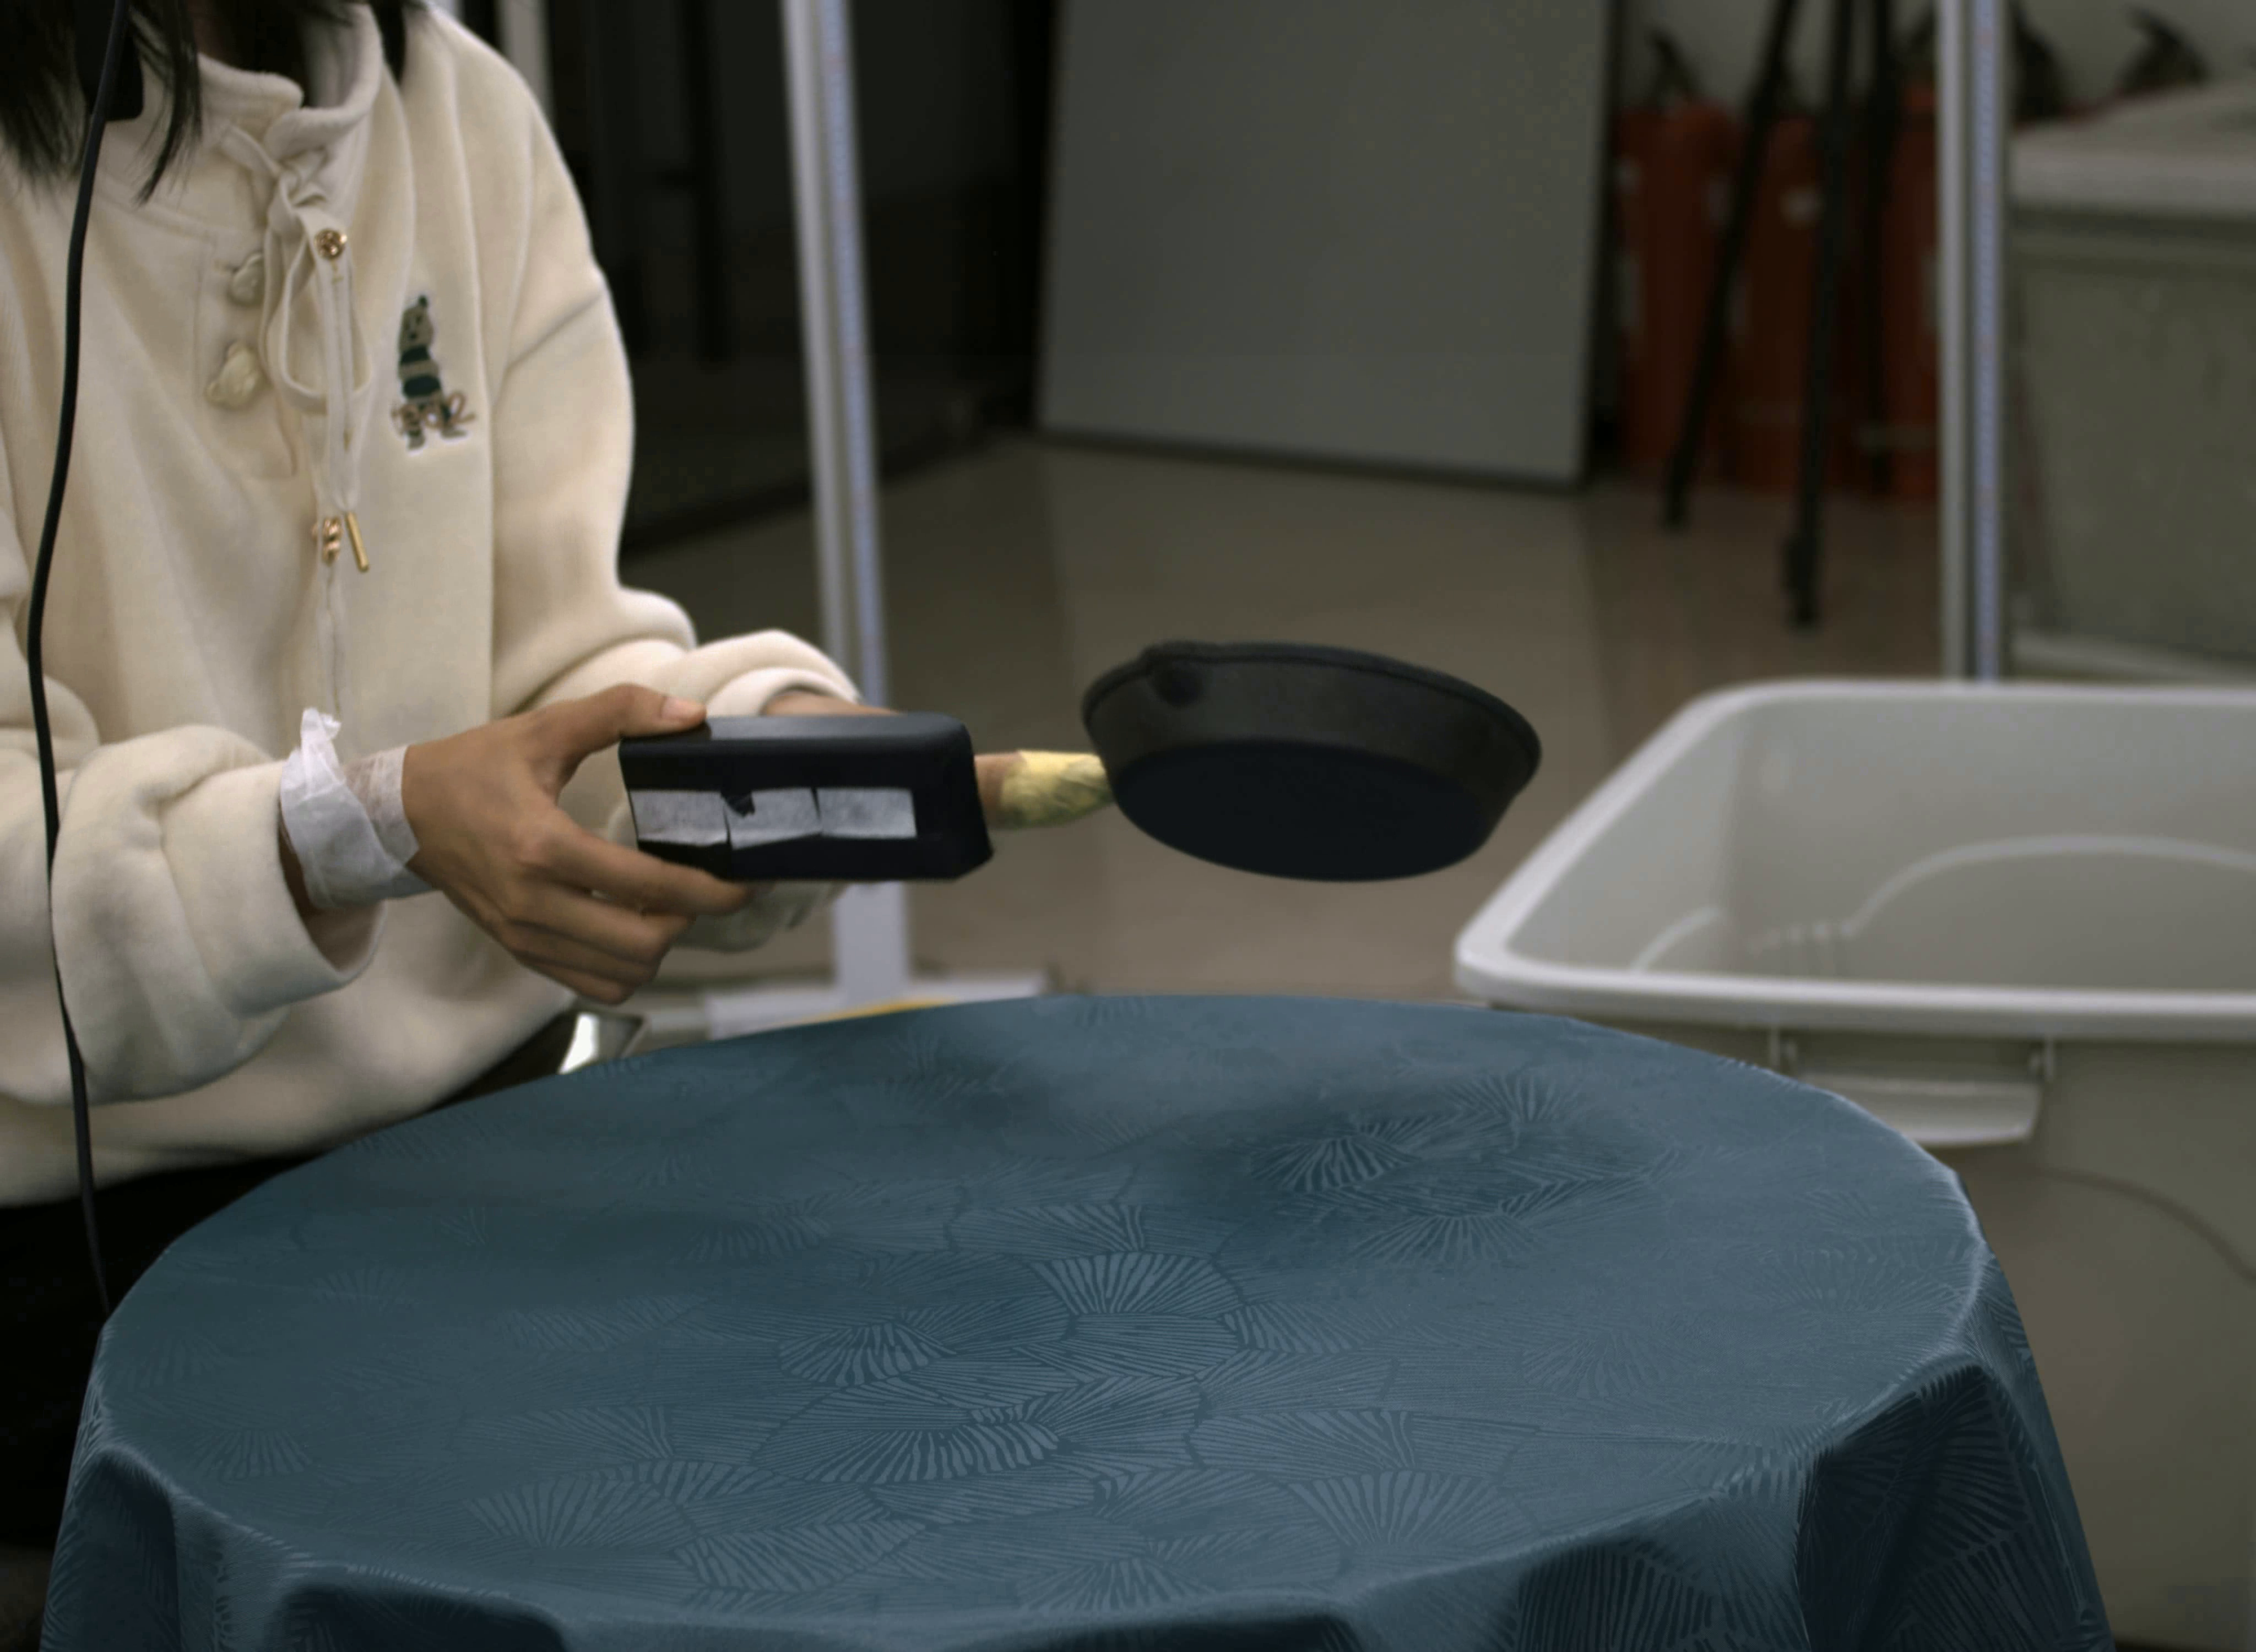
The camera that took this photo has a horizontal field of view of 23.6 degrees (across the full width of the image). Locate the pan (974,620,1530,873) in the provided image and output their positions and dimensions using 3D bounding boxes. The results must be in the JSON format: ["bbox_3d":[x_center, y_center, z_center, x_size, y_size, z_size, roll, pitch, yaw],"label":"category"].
[{"bbox_3d":[-0.007,-0.016,1.870,0.326,0.050,0.166,-11,-28,40],"label":"pan"}]

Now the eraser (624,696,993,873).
[{"bbox_3d":[-0.105,-0.014,1.778,0.126,0.054,0.030,-1,18,30],"label":"eraser"}]
